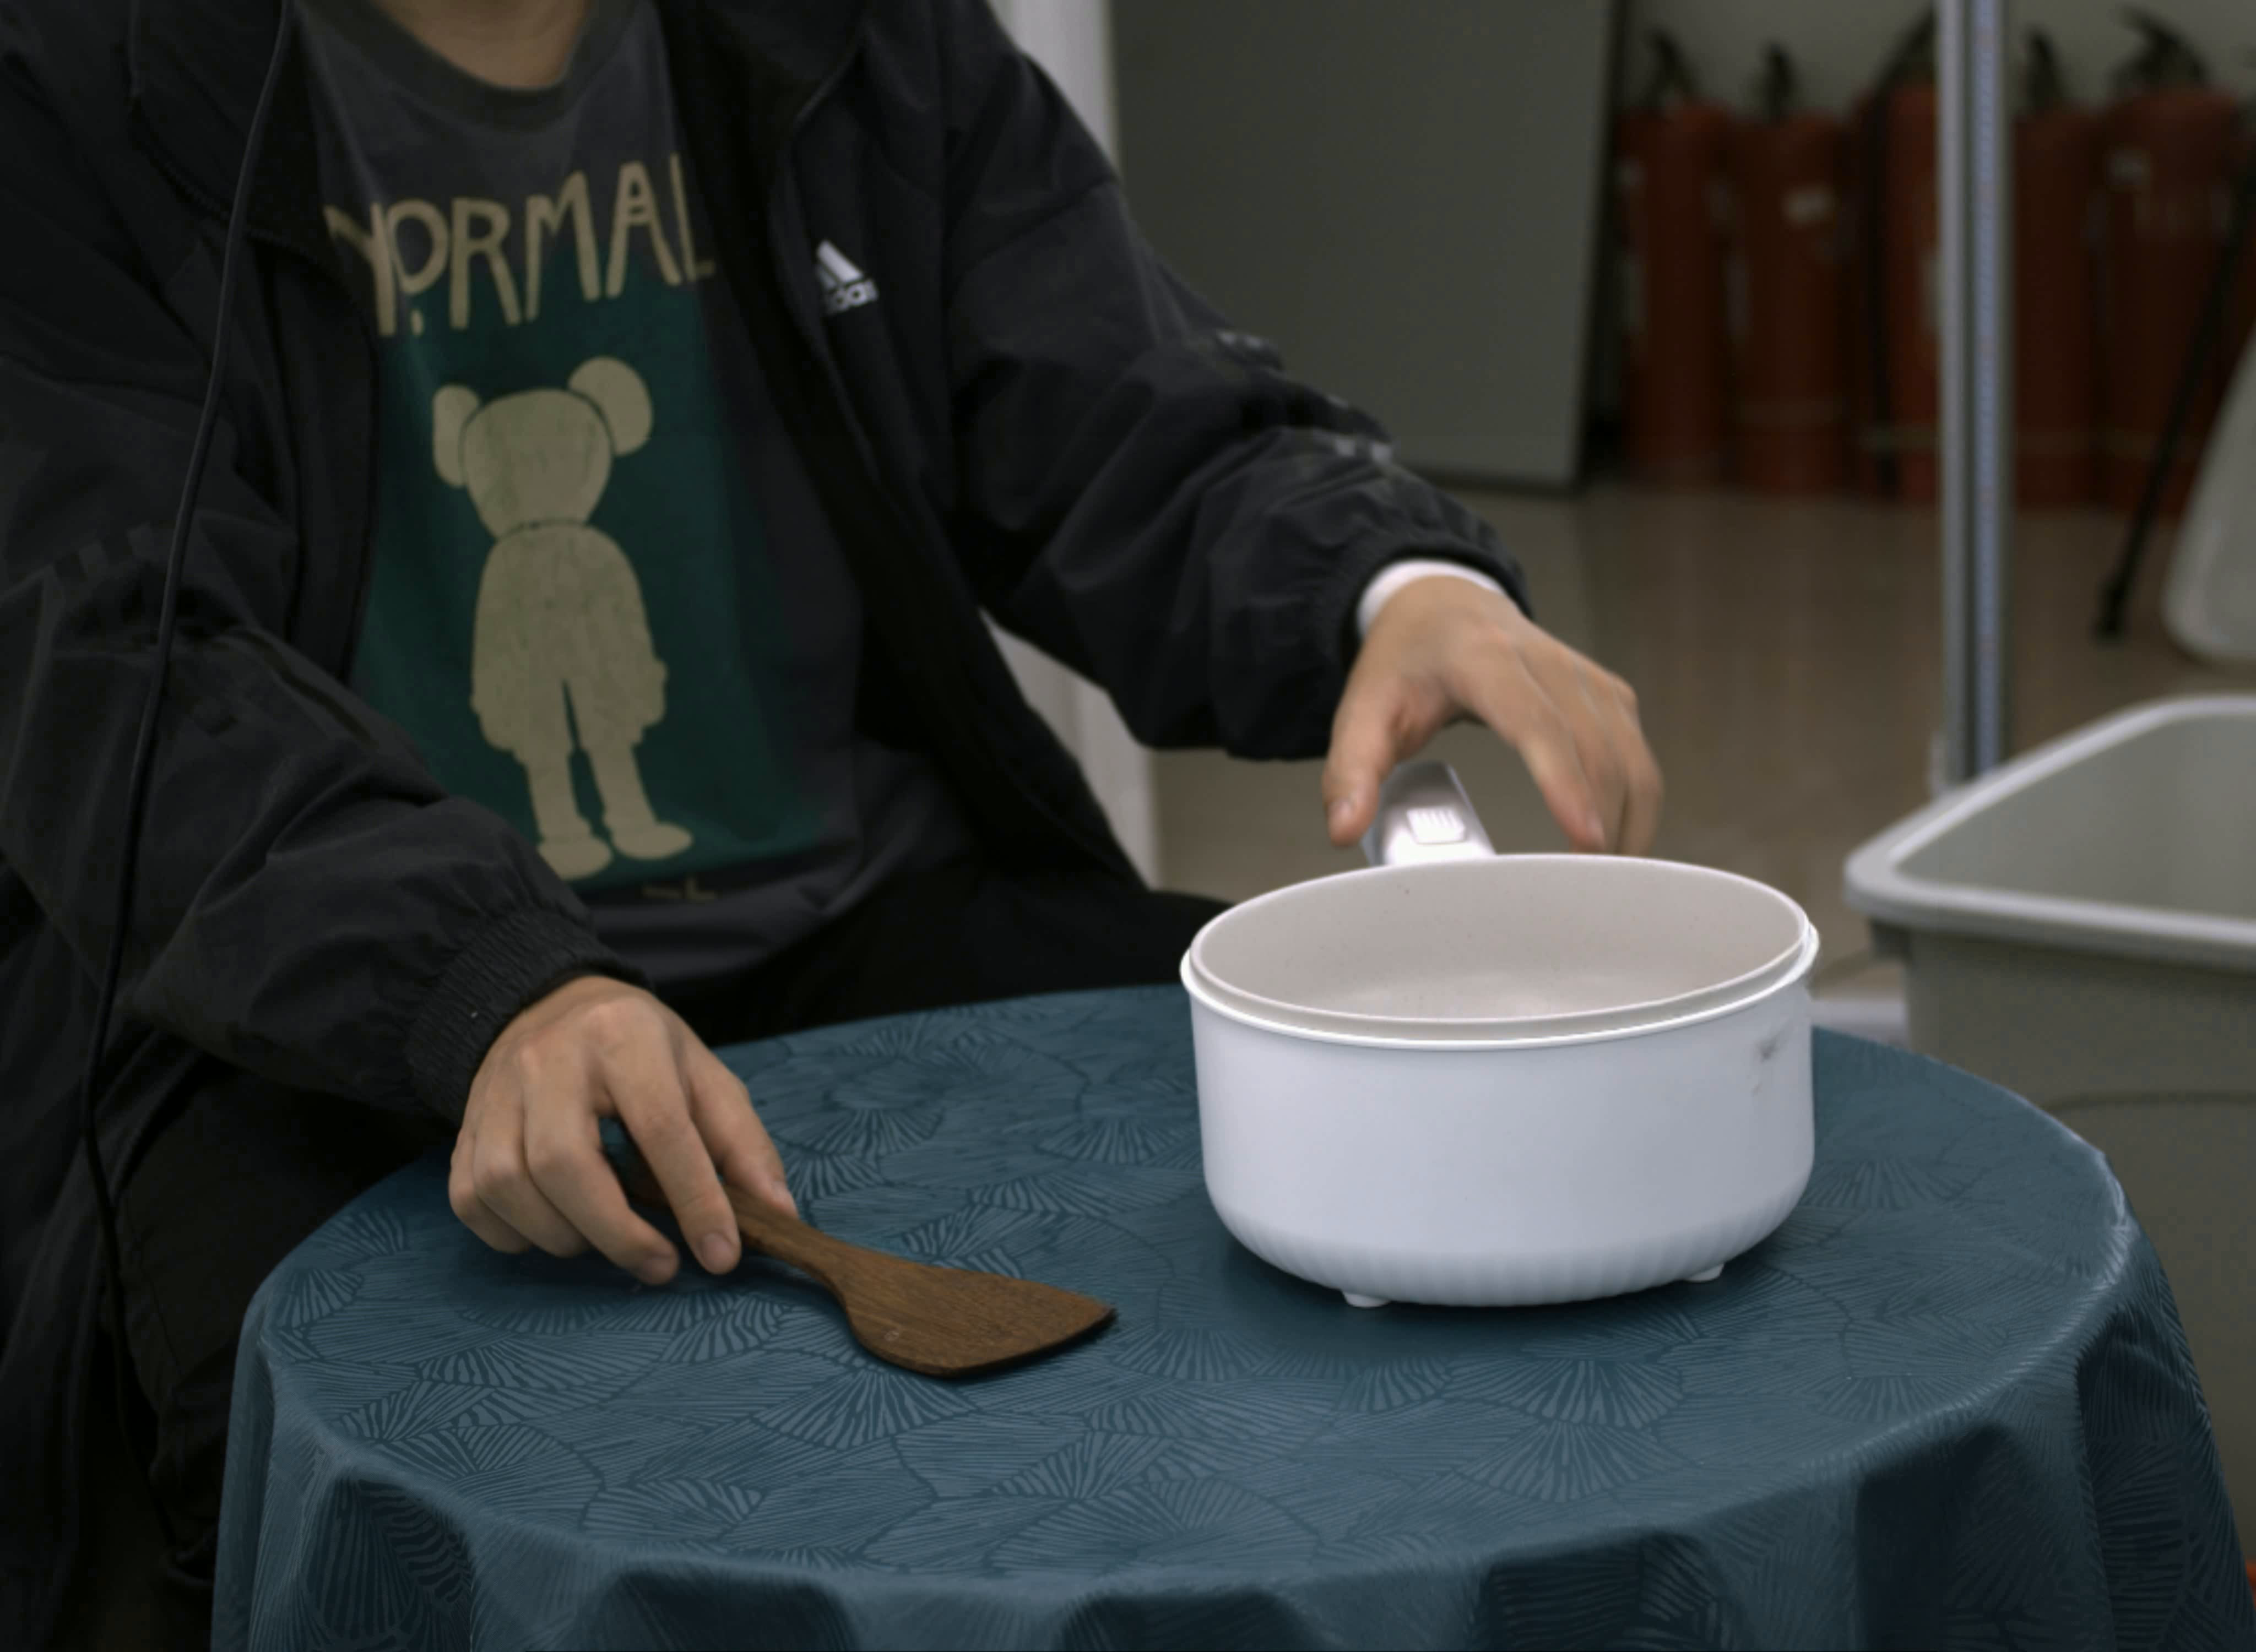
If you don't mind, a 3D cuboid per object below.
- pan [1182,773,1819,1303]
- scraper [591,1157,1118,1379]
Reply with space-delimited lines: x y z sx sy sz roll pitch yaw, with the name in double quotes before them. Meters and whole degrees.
"pan" 0.114 0.065 1.765 0.198 0.103 0.355 -5 12 -2
"scraper" -0.095 0.136 1.692 0.074 0.011 0.213 -15 23 -41
